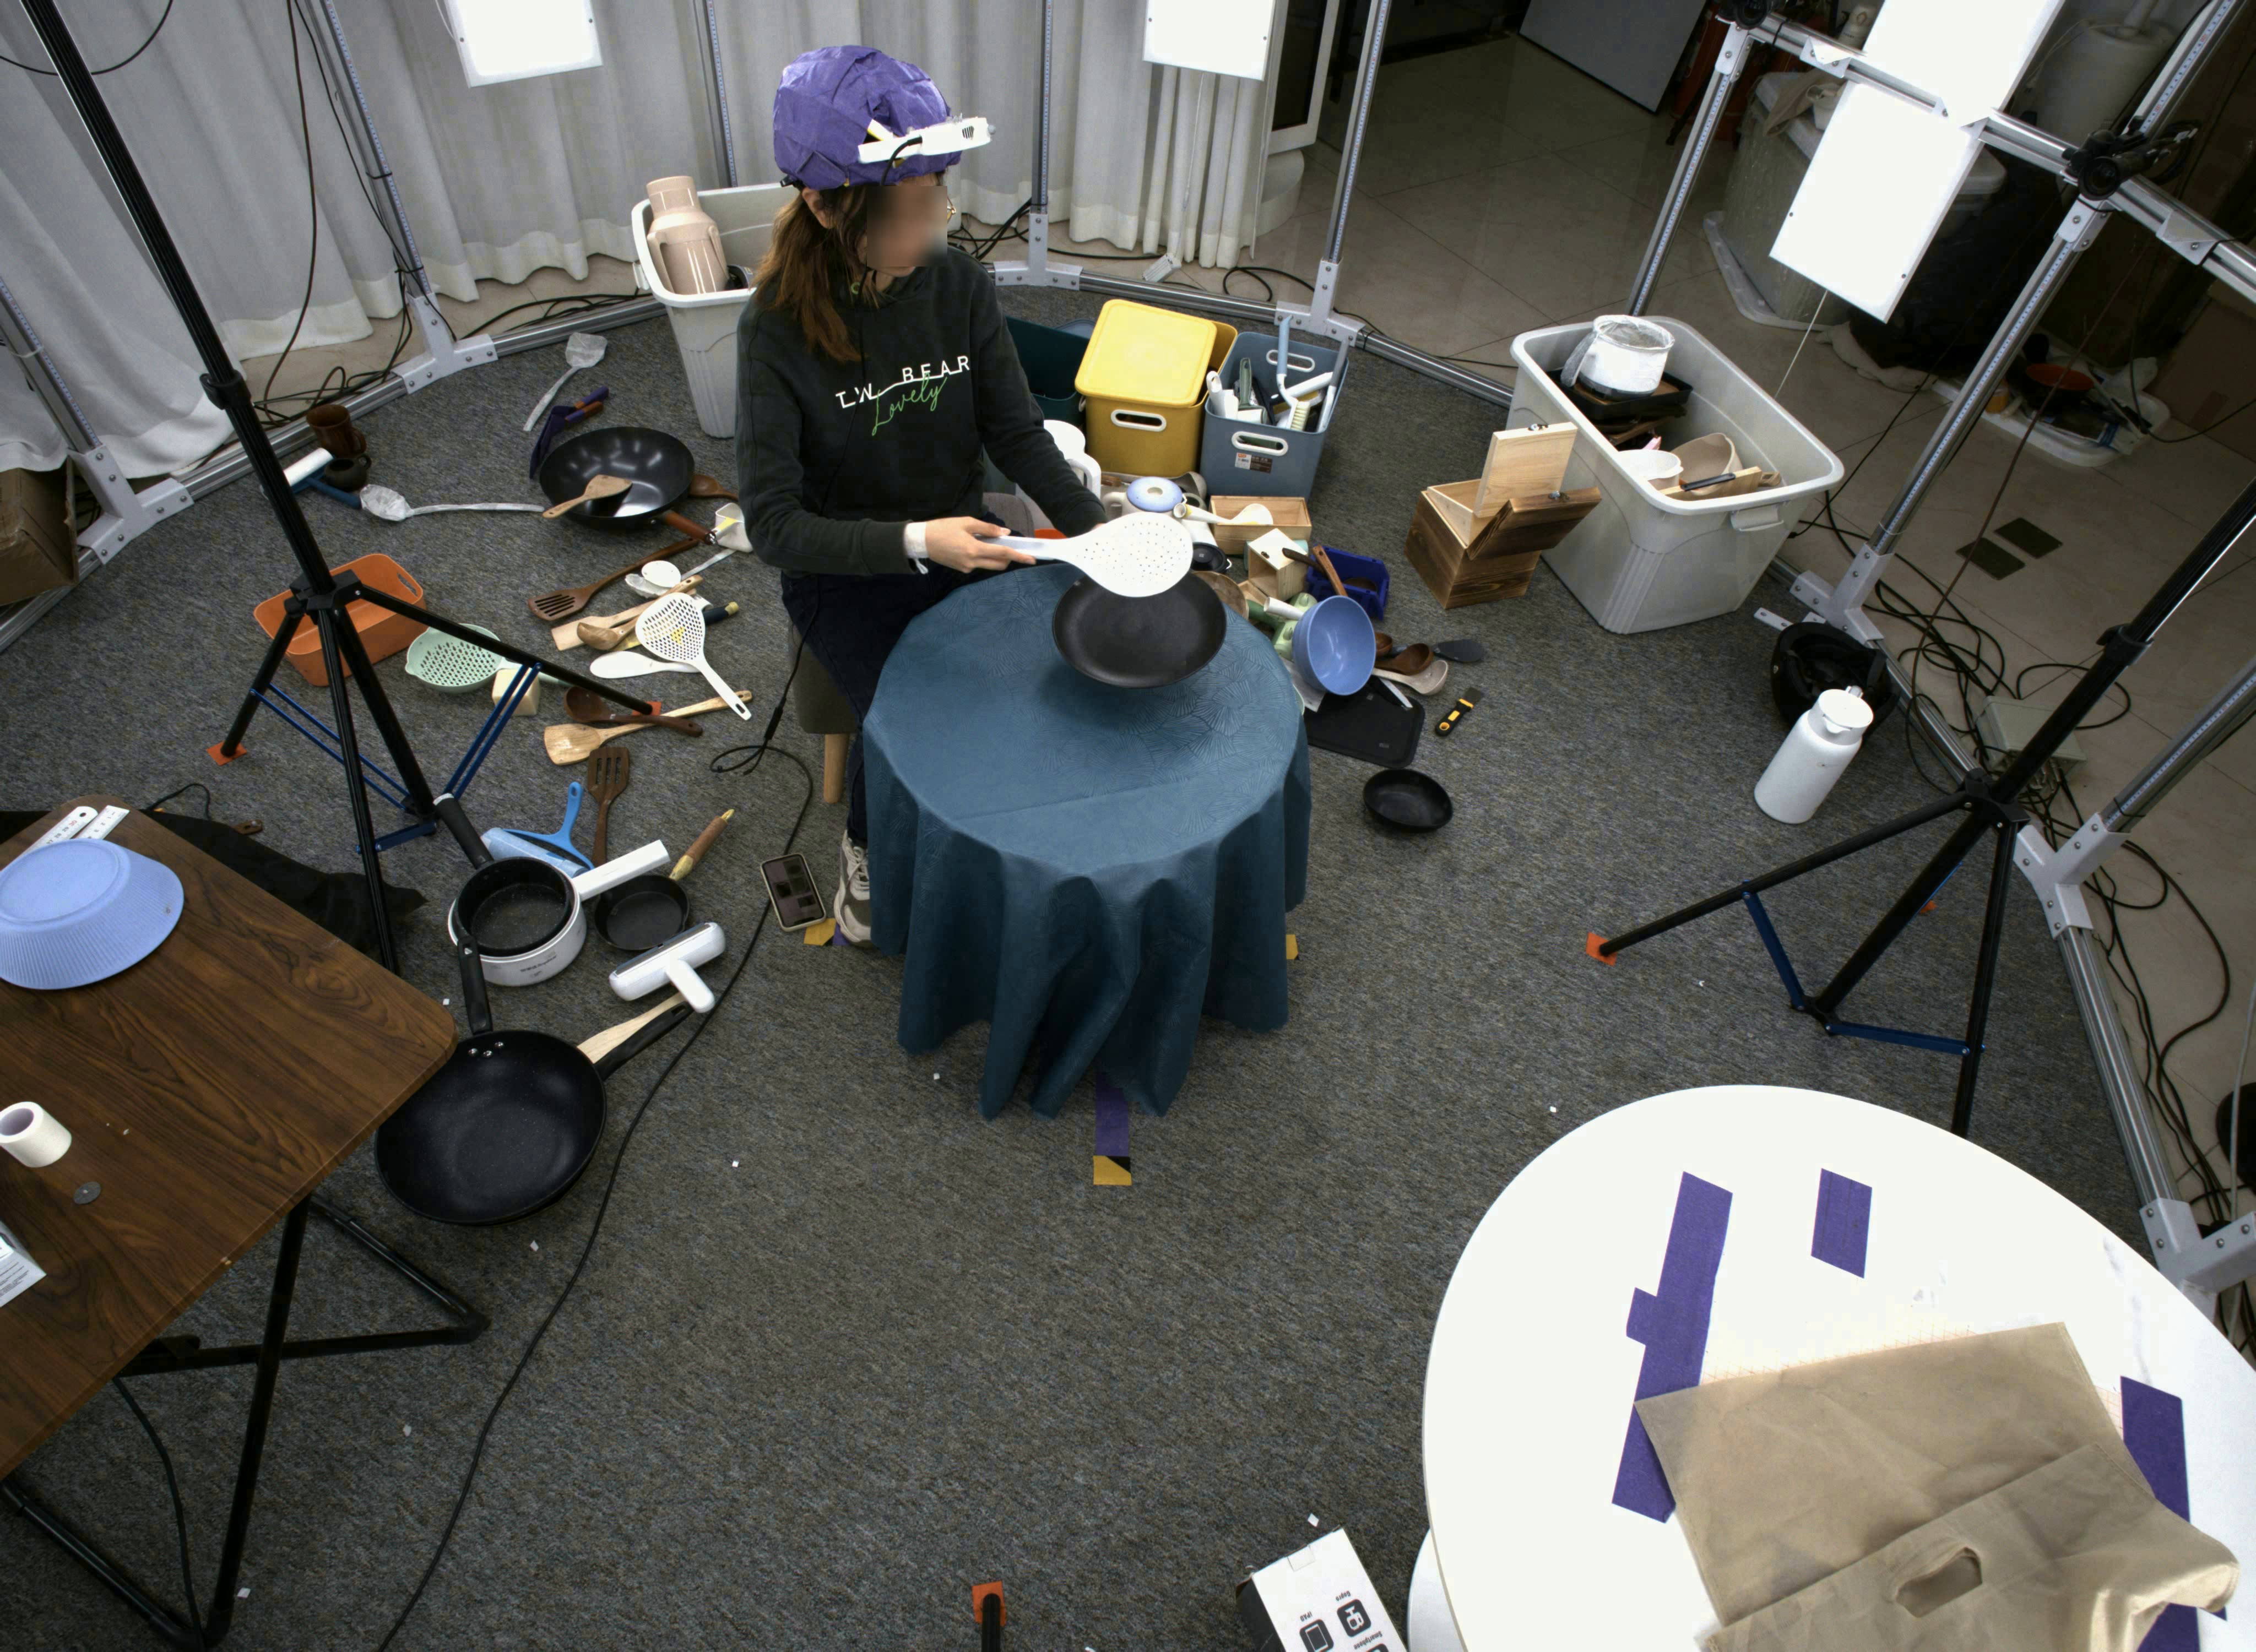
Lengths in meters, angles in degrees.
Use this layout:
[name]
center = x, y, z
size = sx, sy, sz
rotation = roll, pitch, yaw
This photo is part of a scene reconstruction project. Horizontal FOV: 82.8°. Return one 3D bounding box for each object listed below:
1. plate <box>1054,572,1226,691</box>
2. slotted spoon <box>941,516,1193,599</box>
[plate]
center = 0.017, -0.279, 1.817
size = 0.244, 0.023, 0.250
rotation = -1, 53, 1
[slotted spoon]
center = -0.085, -0.372, 1.755
size = 0.350, 0.045, 0.138
rotation = 8, 64, 7
